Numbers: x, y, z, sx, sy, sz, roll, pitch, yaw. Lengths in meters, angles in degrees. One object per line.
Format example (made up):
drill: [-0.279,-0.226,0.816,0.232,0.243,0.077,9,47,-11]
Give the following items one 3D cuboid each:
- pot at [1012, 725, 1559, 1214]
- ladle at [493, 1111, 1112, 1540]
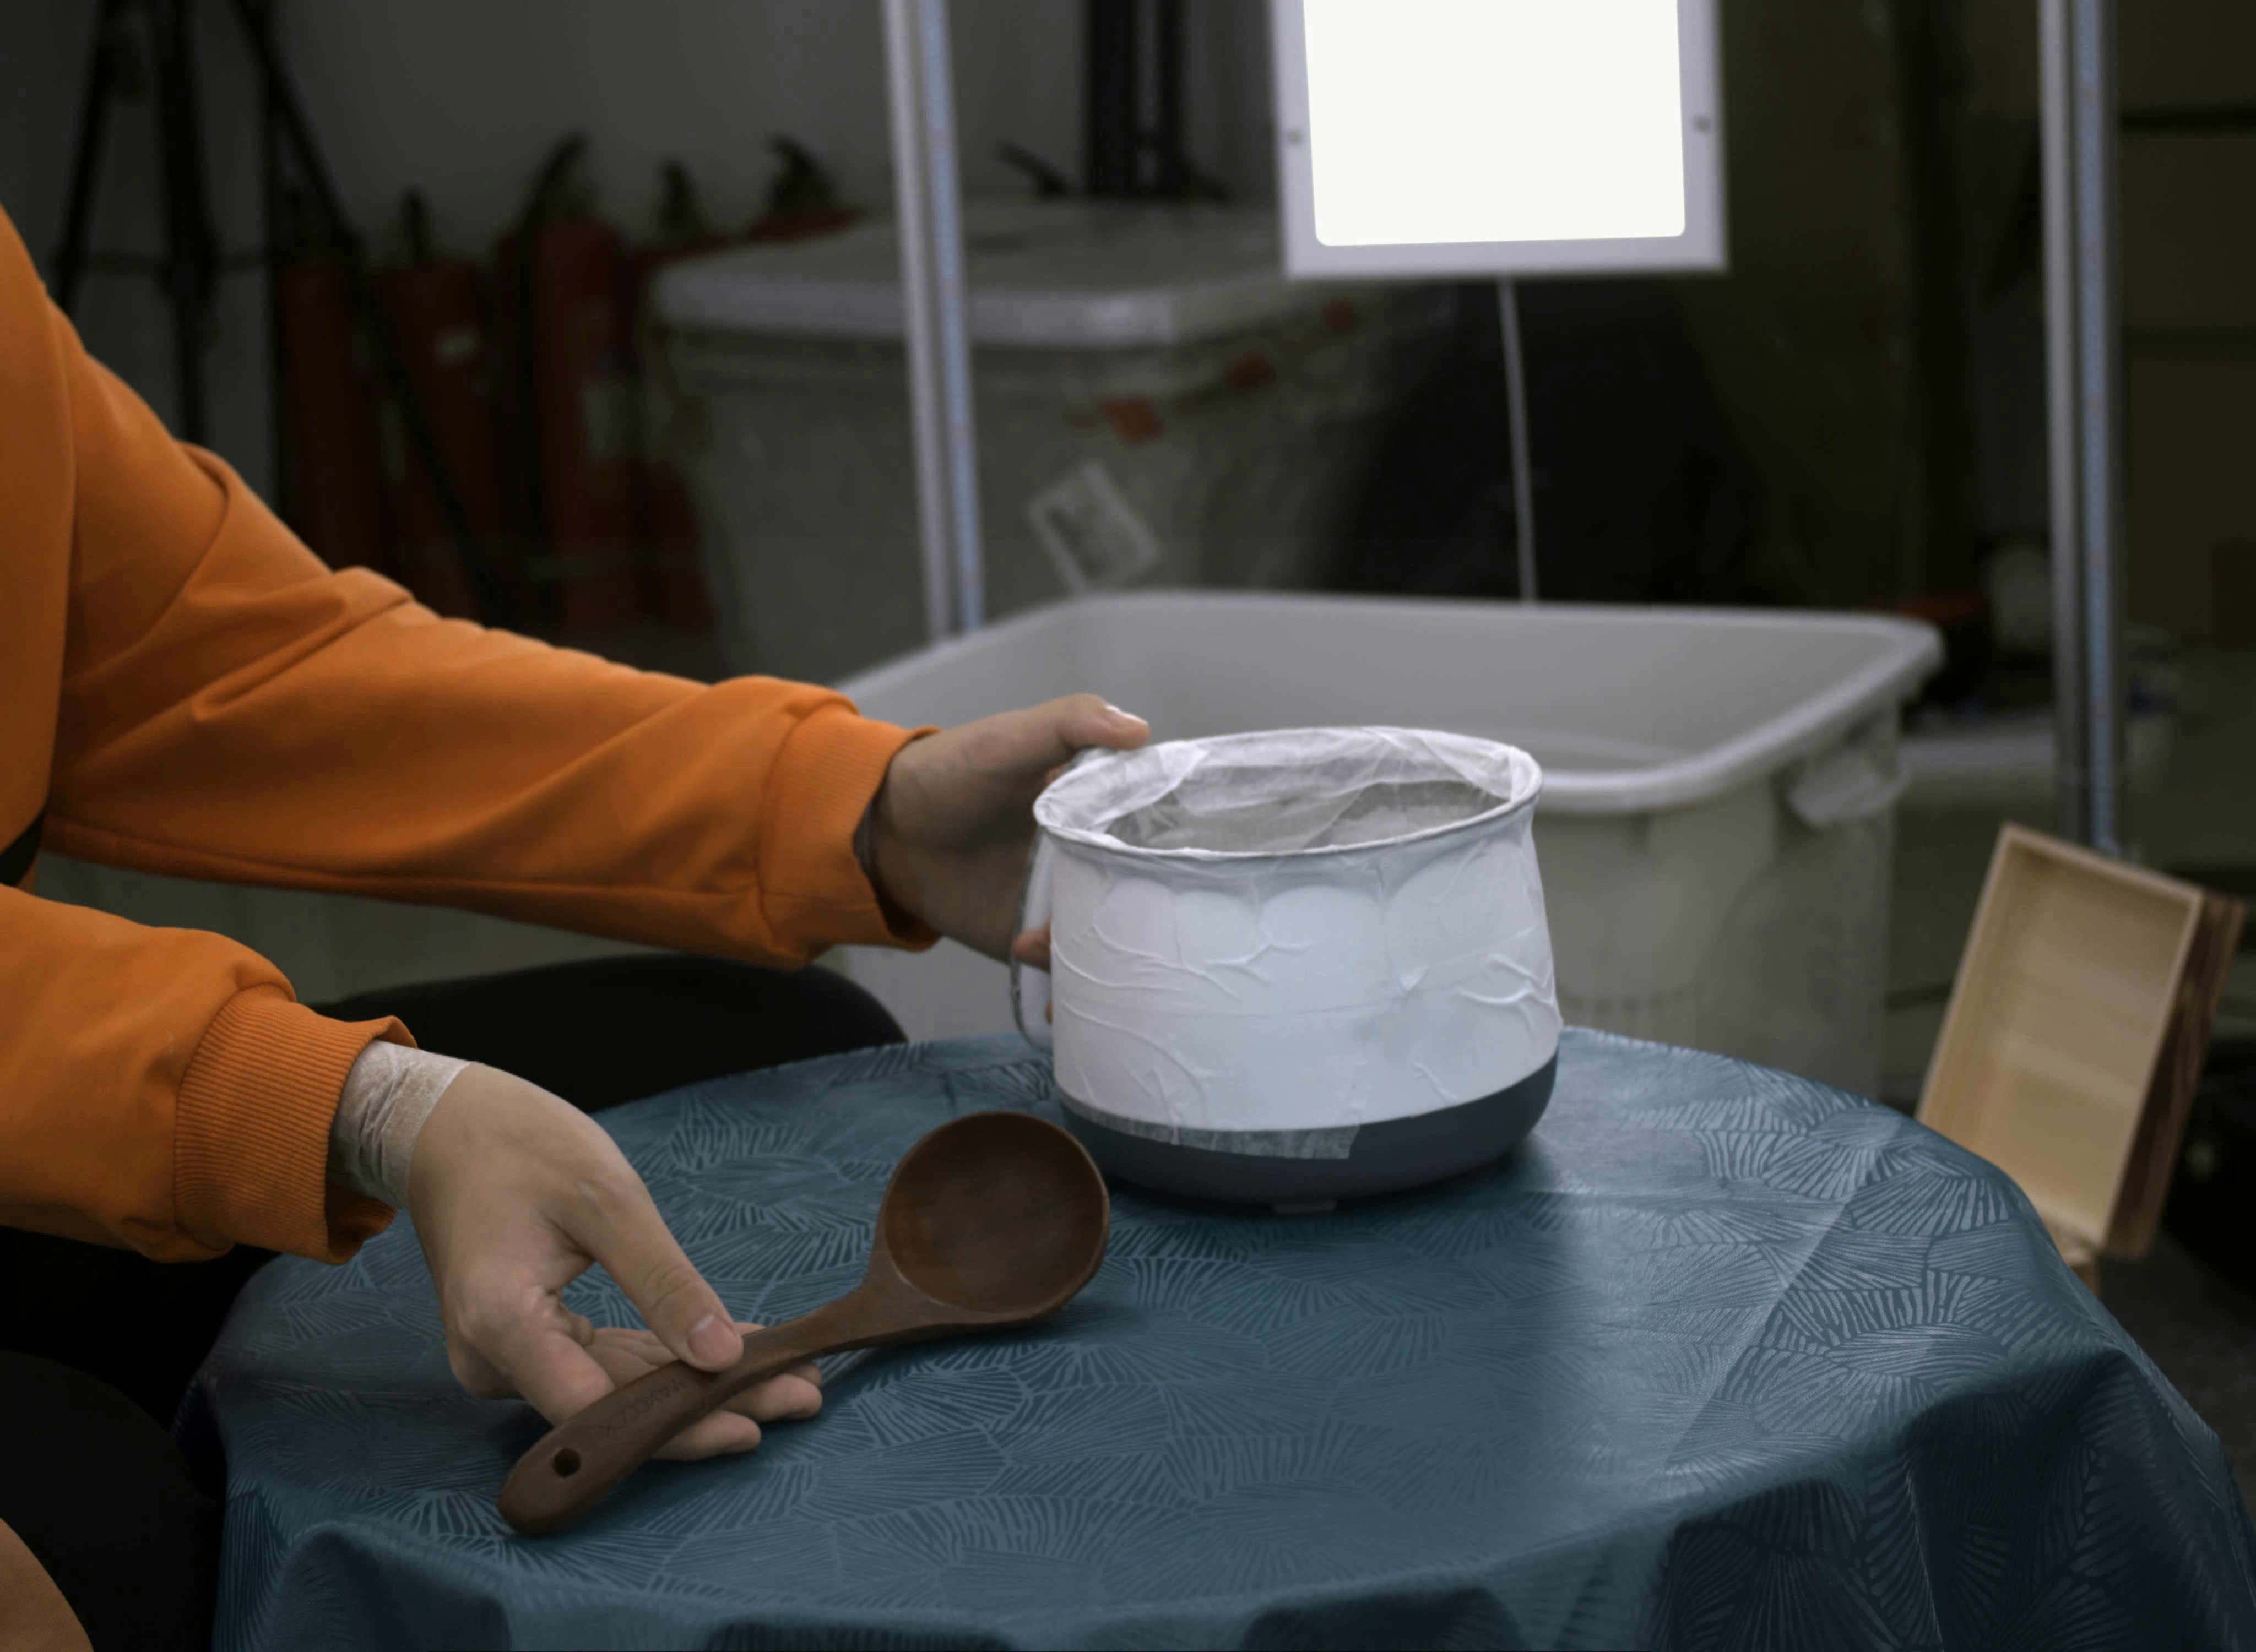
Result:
pot: [0.041,0.044,1.928,0.174,0.137,0.239,-16,18,-39]
ladle: [-0.099,0.152,1.703,0.077,0.066,0.254,35,32,25]
